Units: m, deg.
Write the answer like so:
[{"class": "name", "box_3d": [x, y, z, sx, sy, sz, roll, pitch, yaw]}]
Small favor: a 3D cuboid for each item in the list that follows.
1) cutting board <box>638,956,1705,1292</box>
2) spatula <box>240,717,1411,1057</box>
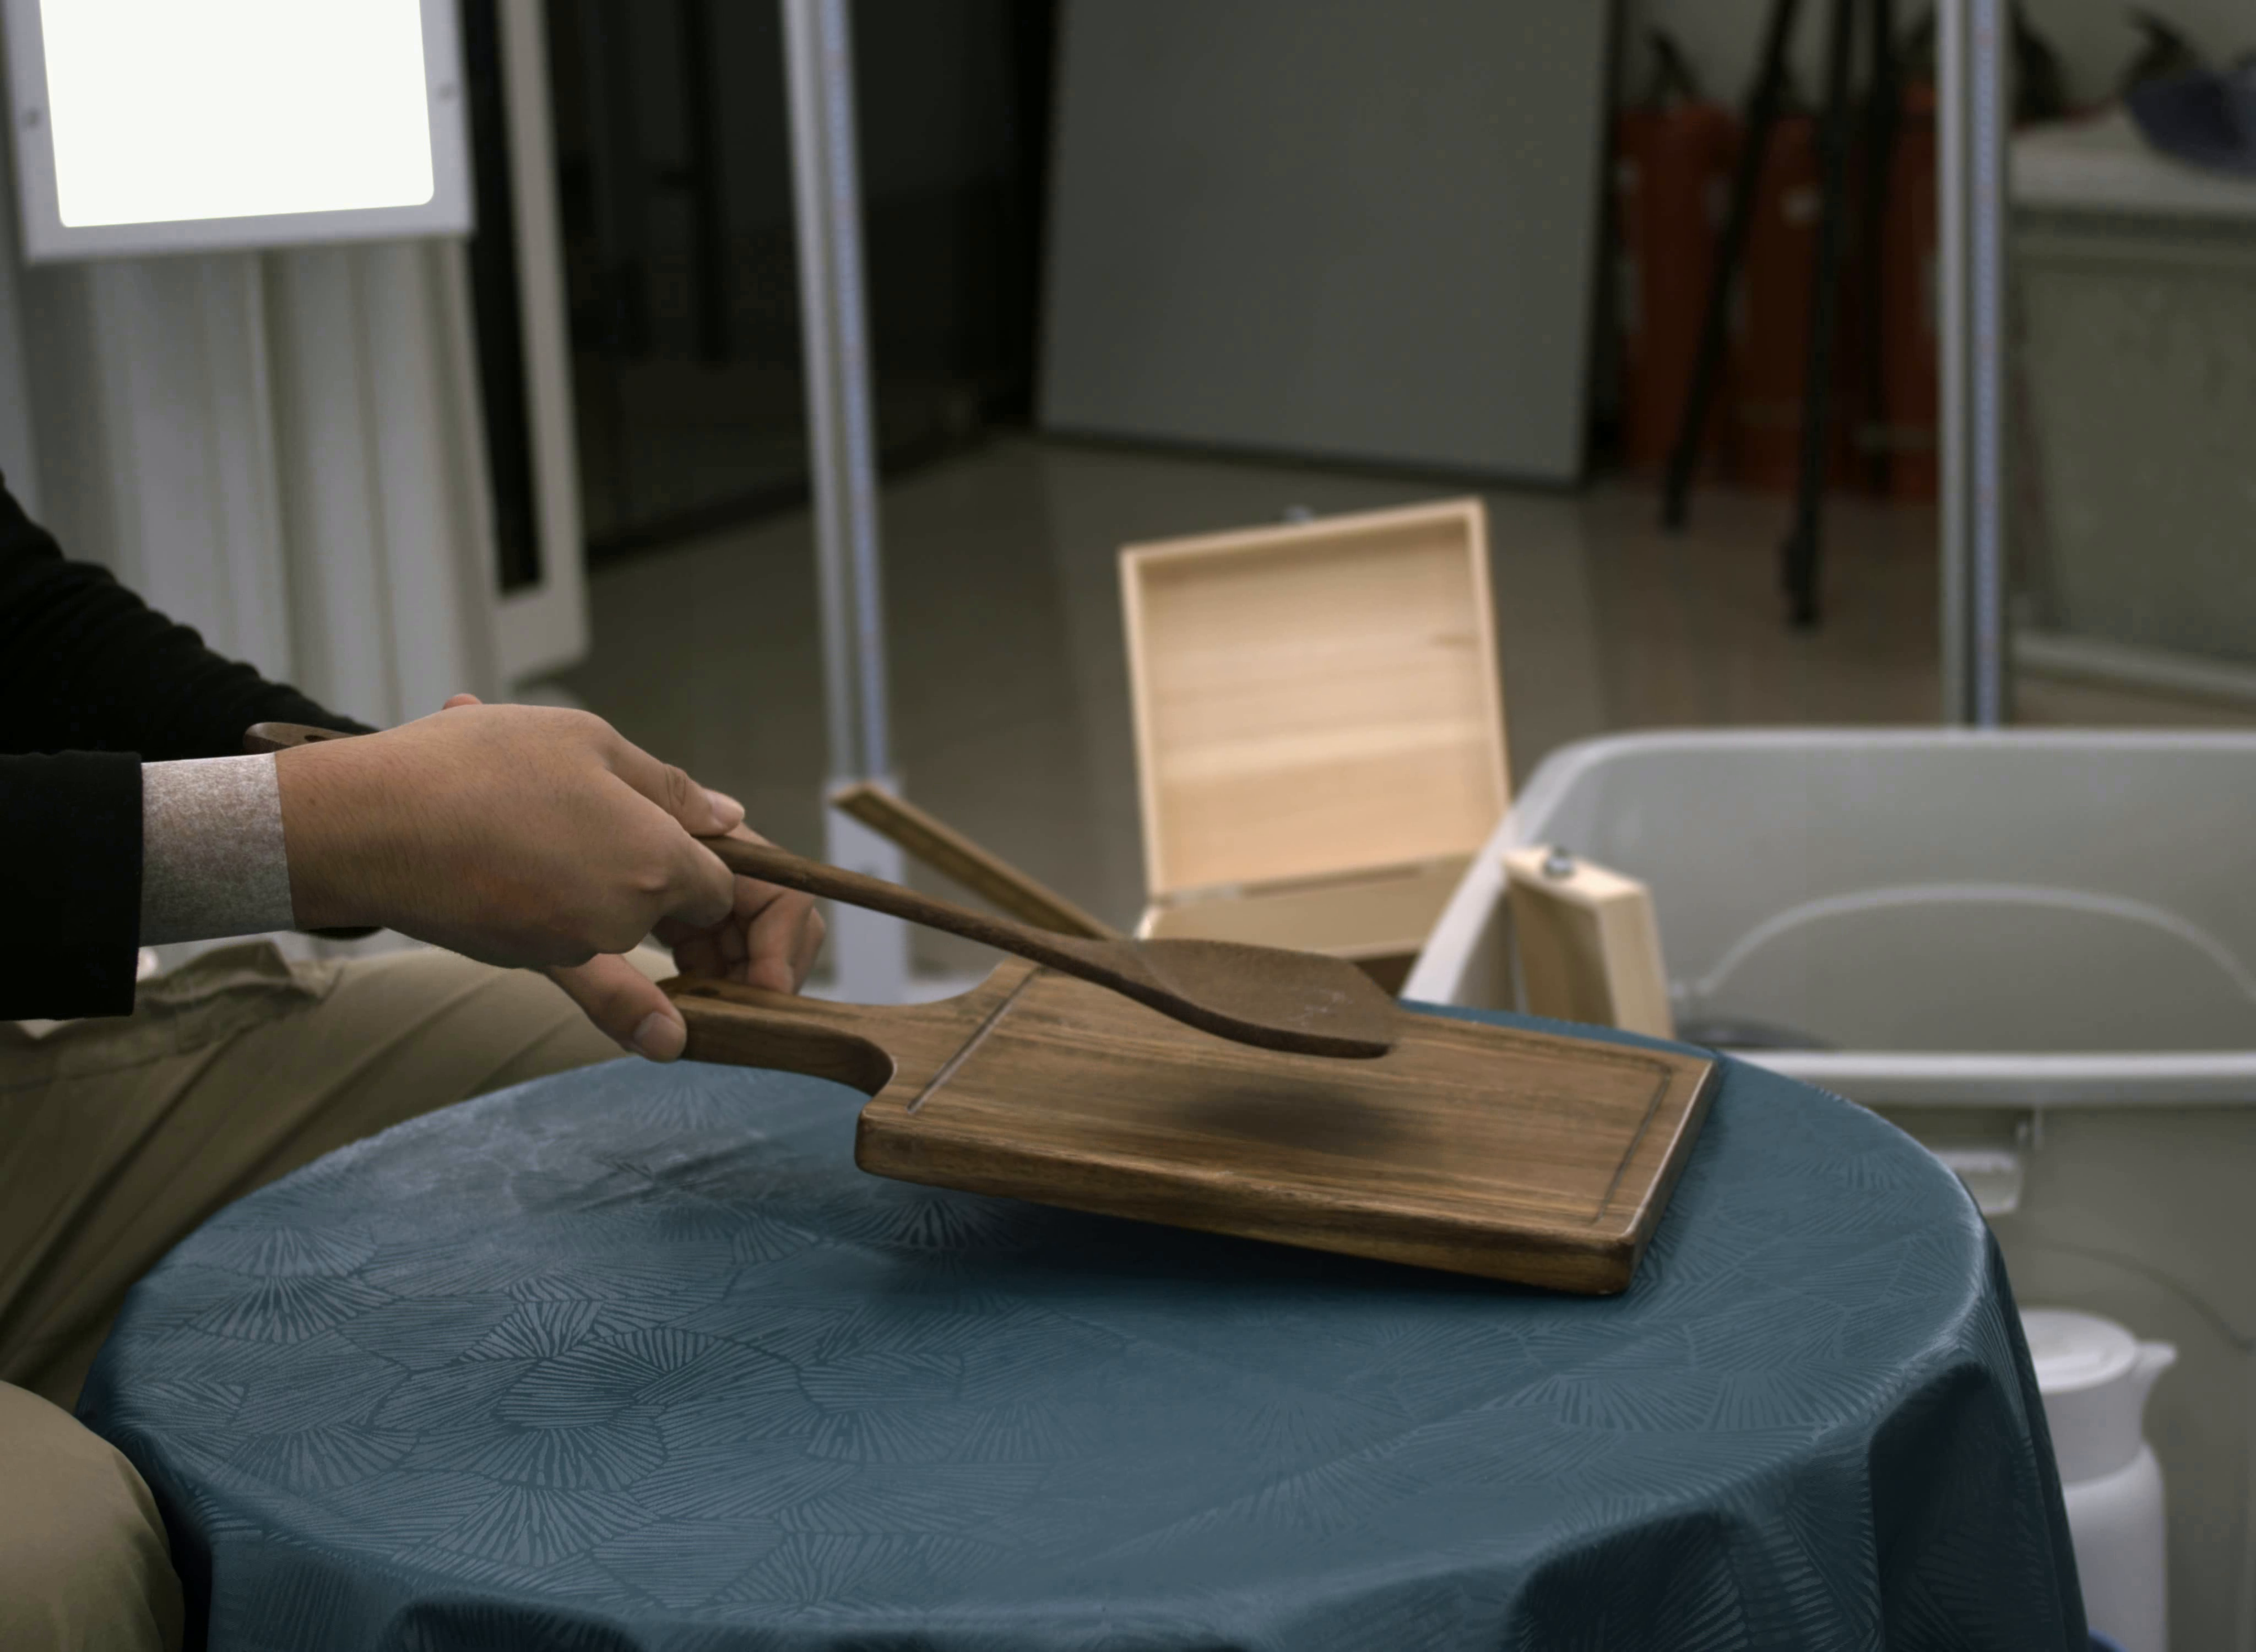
[{"class": "cutting board", "box_3d": [0.008, 0.086, 1.761, 0.350, 0.023, 0.199, 8, 16, 13]}, {"class": "spatula", "box_3d": [-0.090, 0.018, 1.692, 0.379, 0.016, 0.097, 16, 13, -14]}]
